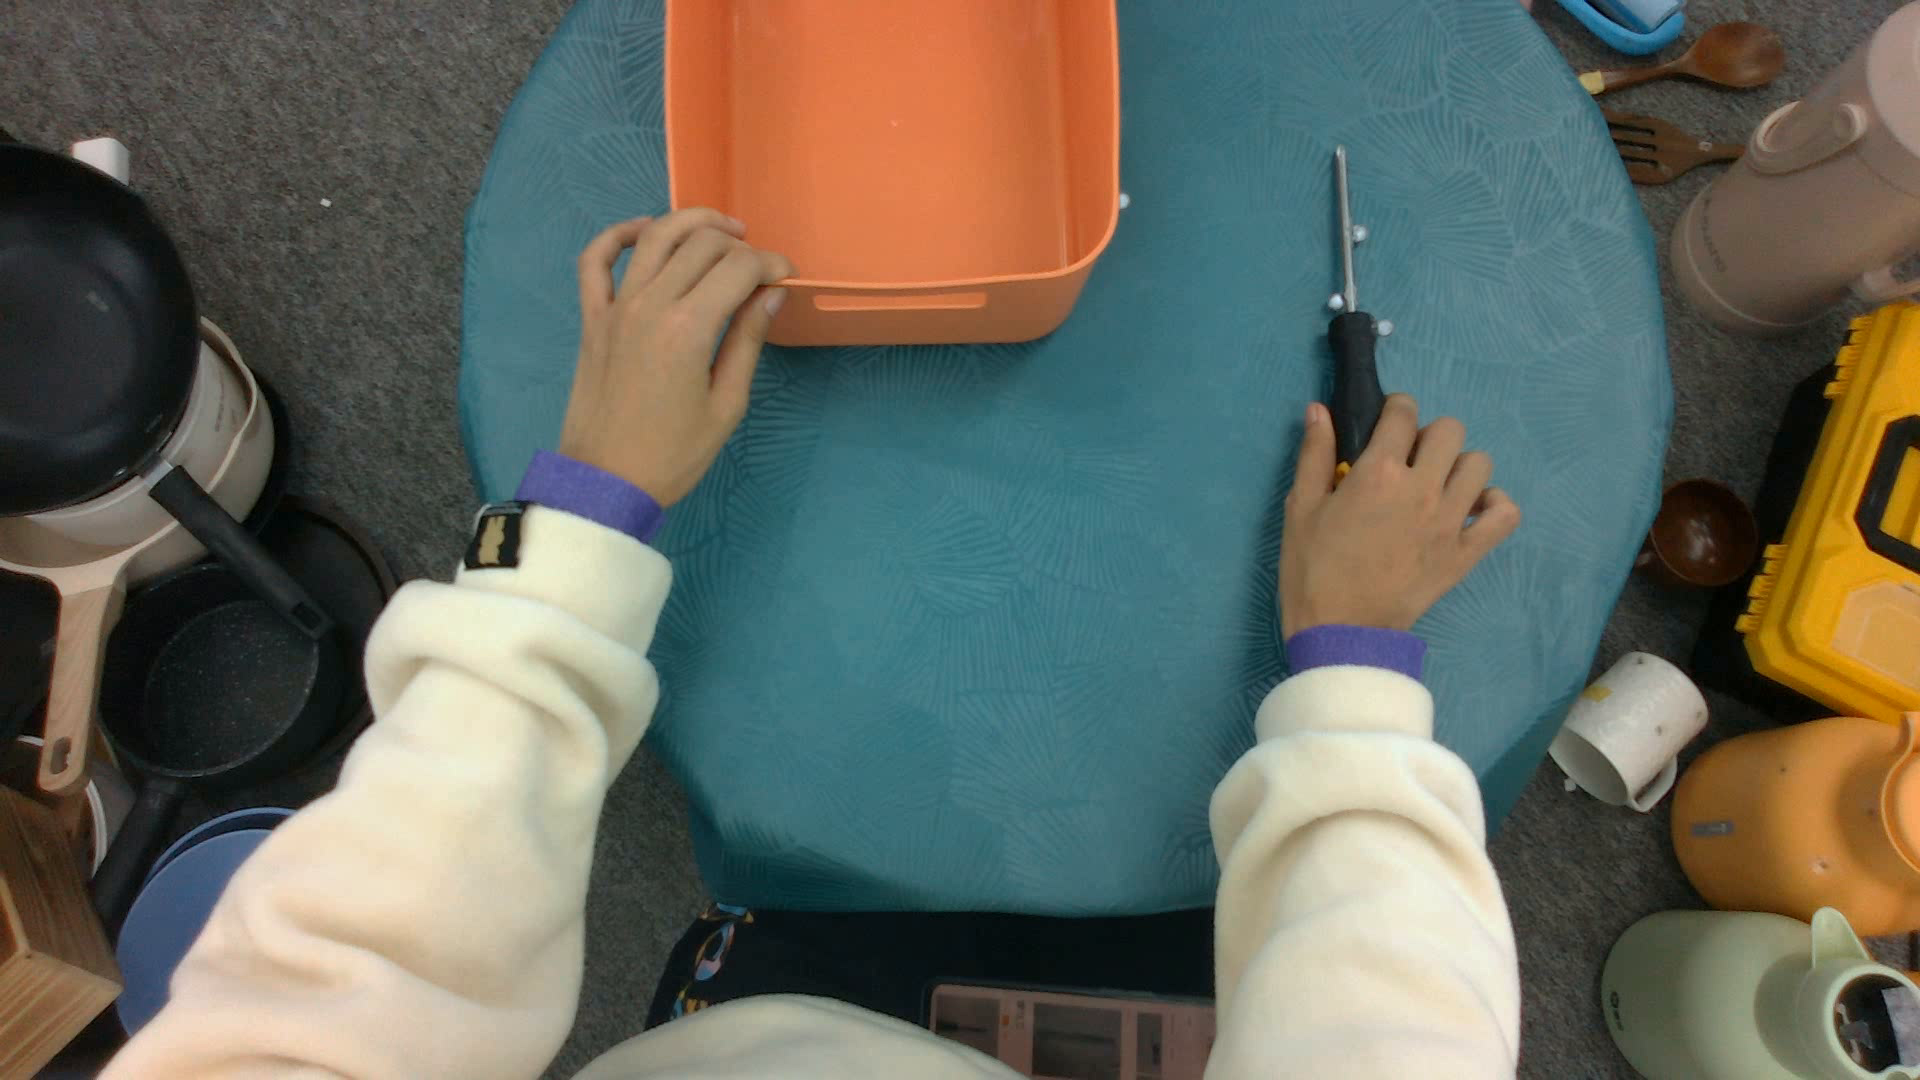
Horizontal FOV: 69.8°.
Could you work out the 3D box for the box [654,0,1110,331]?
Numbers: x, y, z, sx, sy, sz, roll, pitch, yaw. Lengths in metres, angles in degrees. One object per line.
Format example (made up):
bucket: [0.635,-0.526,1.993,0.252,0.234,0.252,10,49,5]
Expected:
box: [-0.038,-0.231,0.656,0.199,0.102,0.274,-1,74,-4]

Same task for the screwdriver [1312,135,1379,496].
screwdriver: [0.190,-0.115,0.682,0.031,0.031,0.197,5,70,-1]
